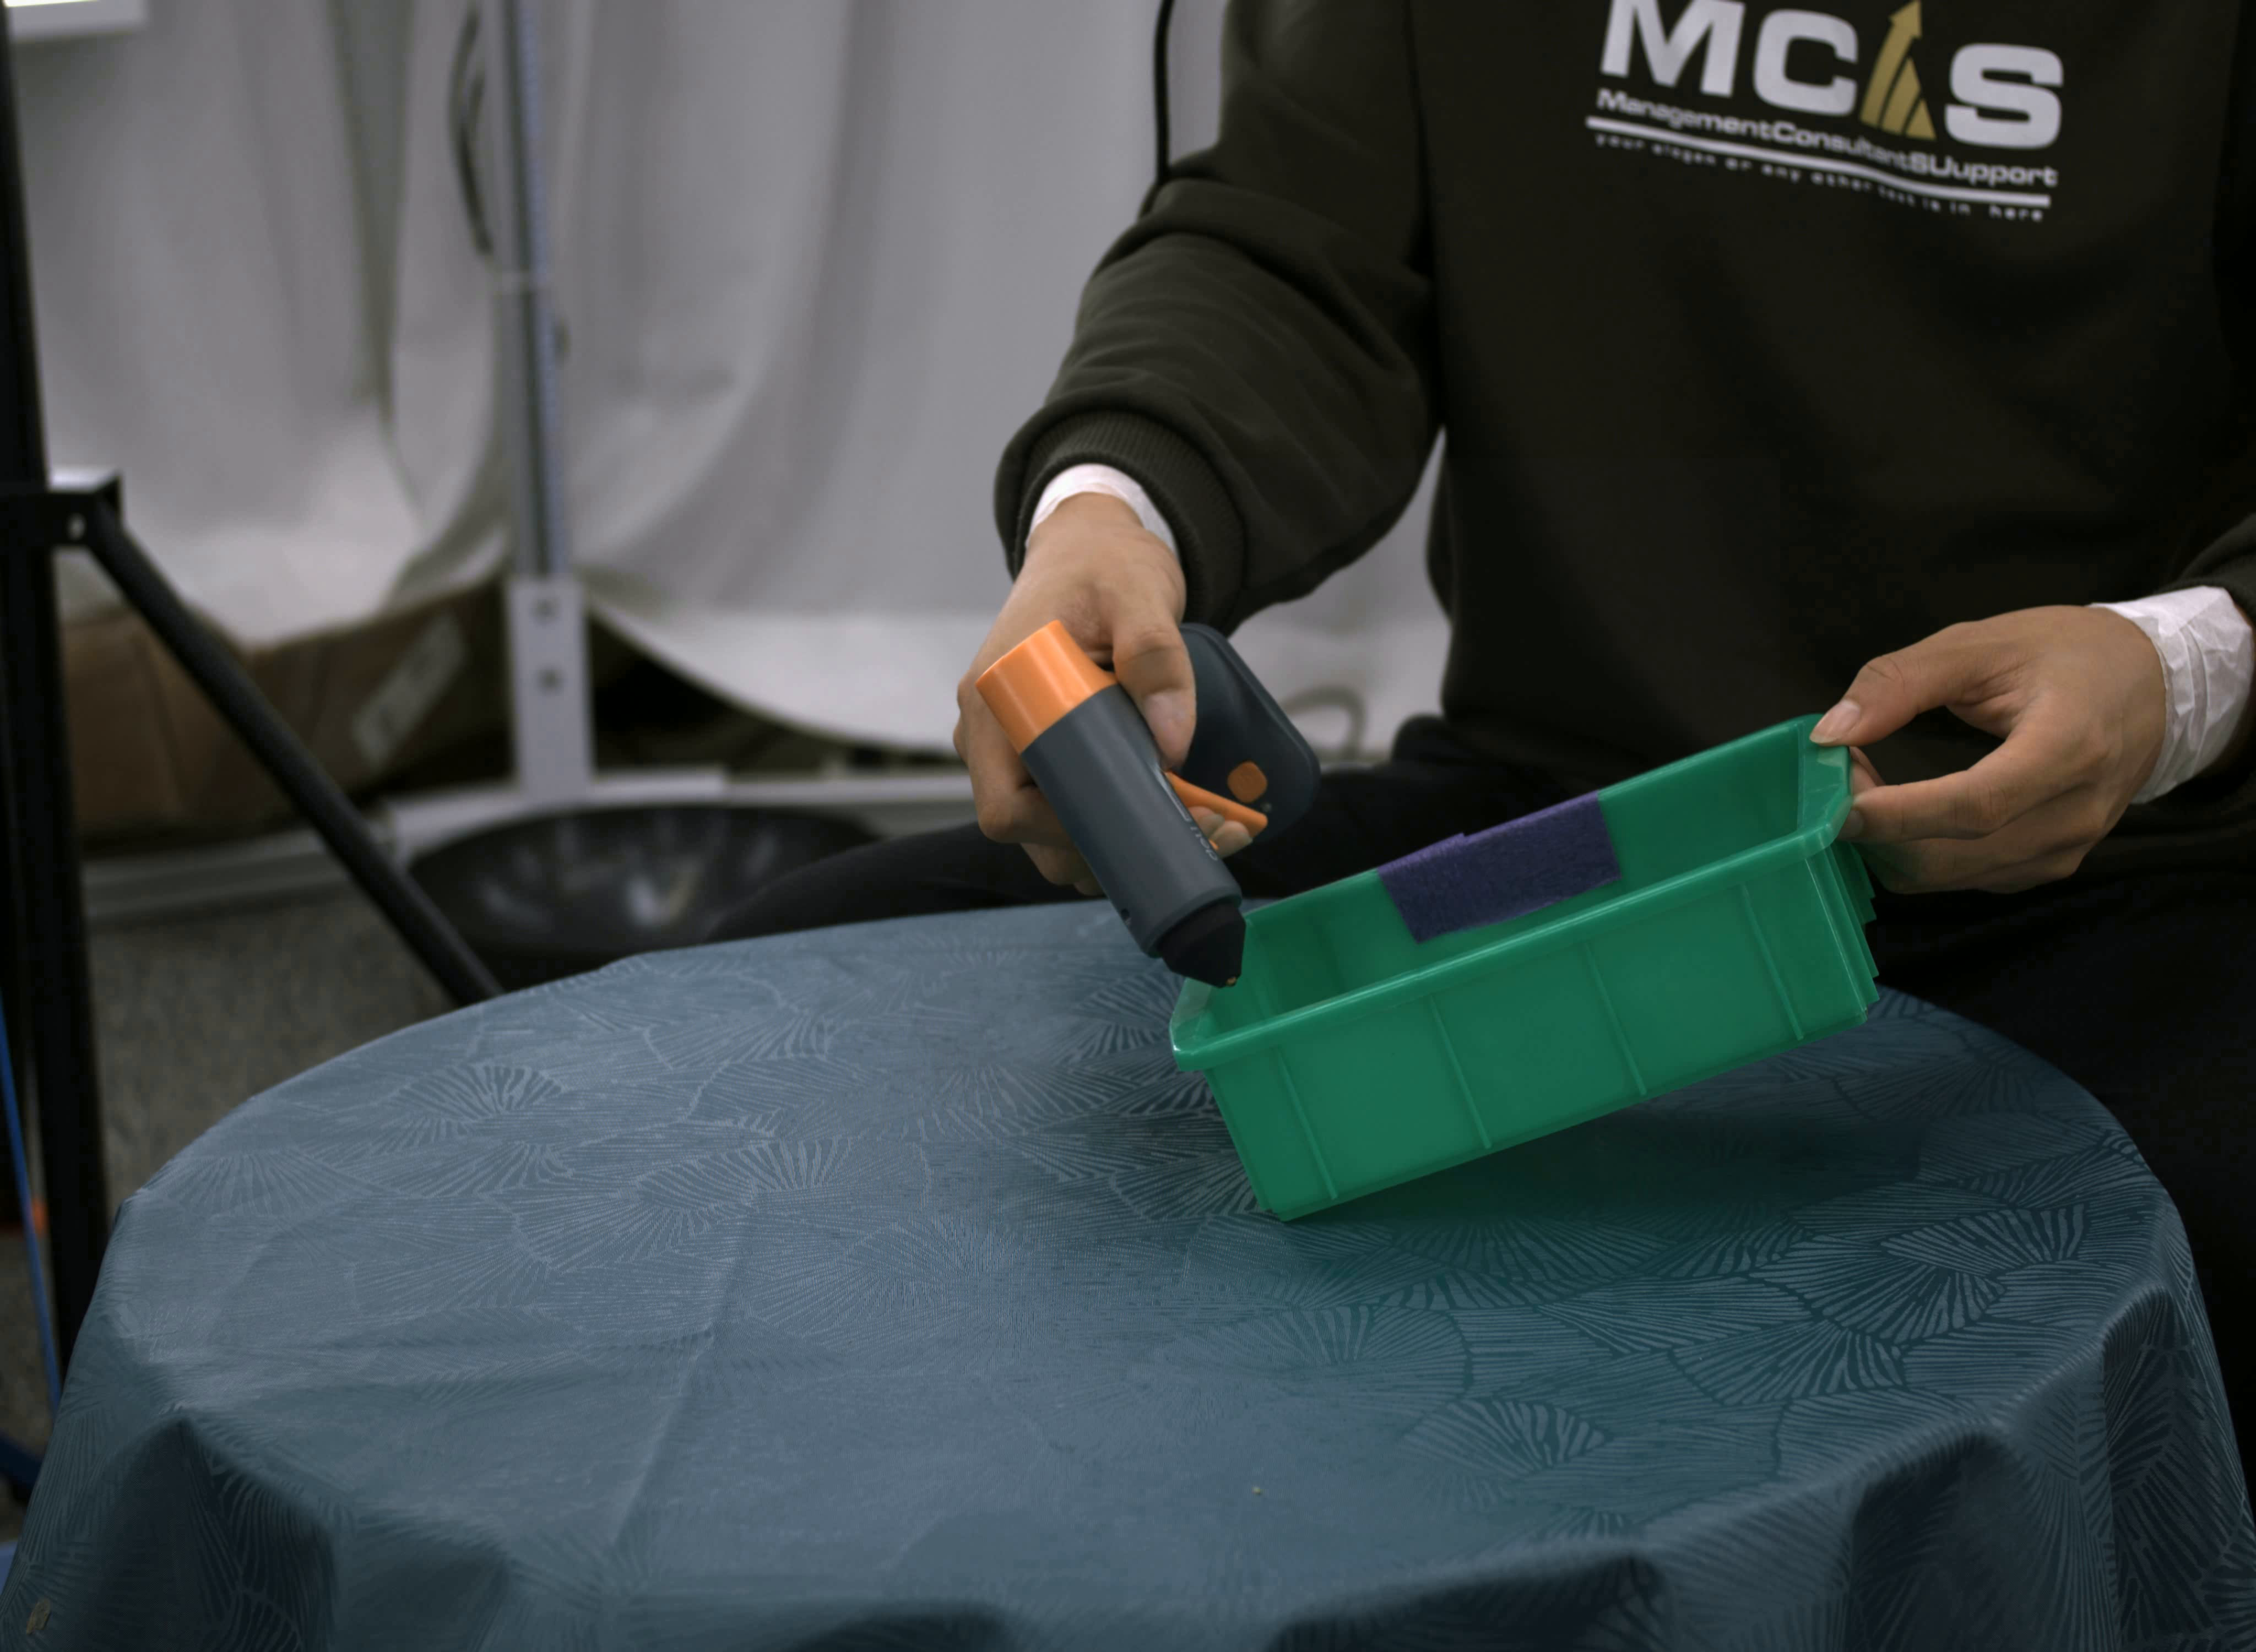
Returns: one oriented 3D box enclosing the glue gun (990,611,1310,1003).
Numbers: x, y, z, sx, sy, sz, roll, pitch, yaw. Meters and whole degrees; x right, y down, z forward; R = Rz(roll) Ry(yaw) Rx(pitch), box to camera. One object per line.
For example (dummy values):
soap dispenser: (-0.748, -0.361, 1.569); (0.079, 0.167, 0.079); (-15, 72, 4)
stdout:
glue gun: (0.011, -0.011, 1.598); (0.041, 0.118, 0.138); (-32, 1, 21)

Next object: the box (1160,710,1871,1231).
box: (0.119, 0.044, 1.551); (0.211, 0.065, 0.138); (-22, 11, 12)
